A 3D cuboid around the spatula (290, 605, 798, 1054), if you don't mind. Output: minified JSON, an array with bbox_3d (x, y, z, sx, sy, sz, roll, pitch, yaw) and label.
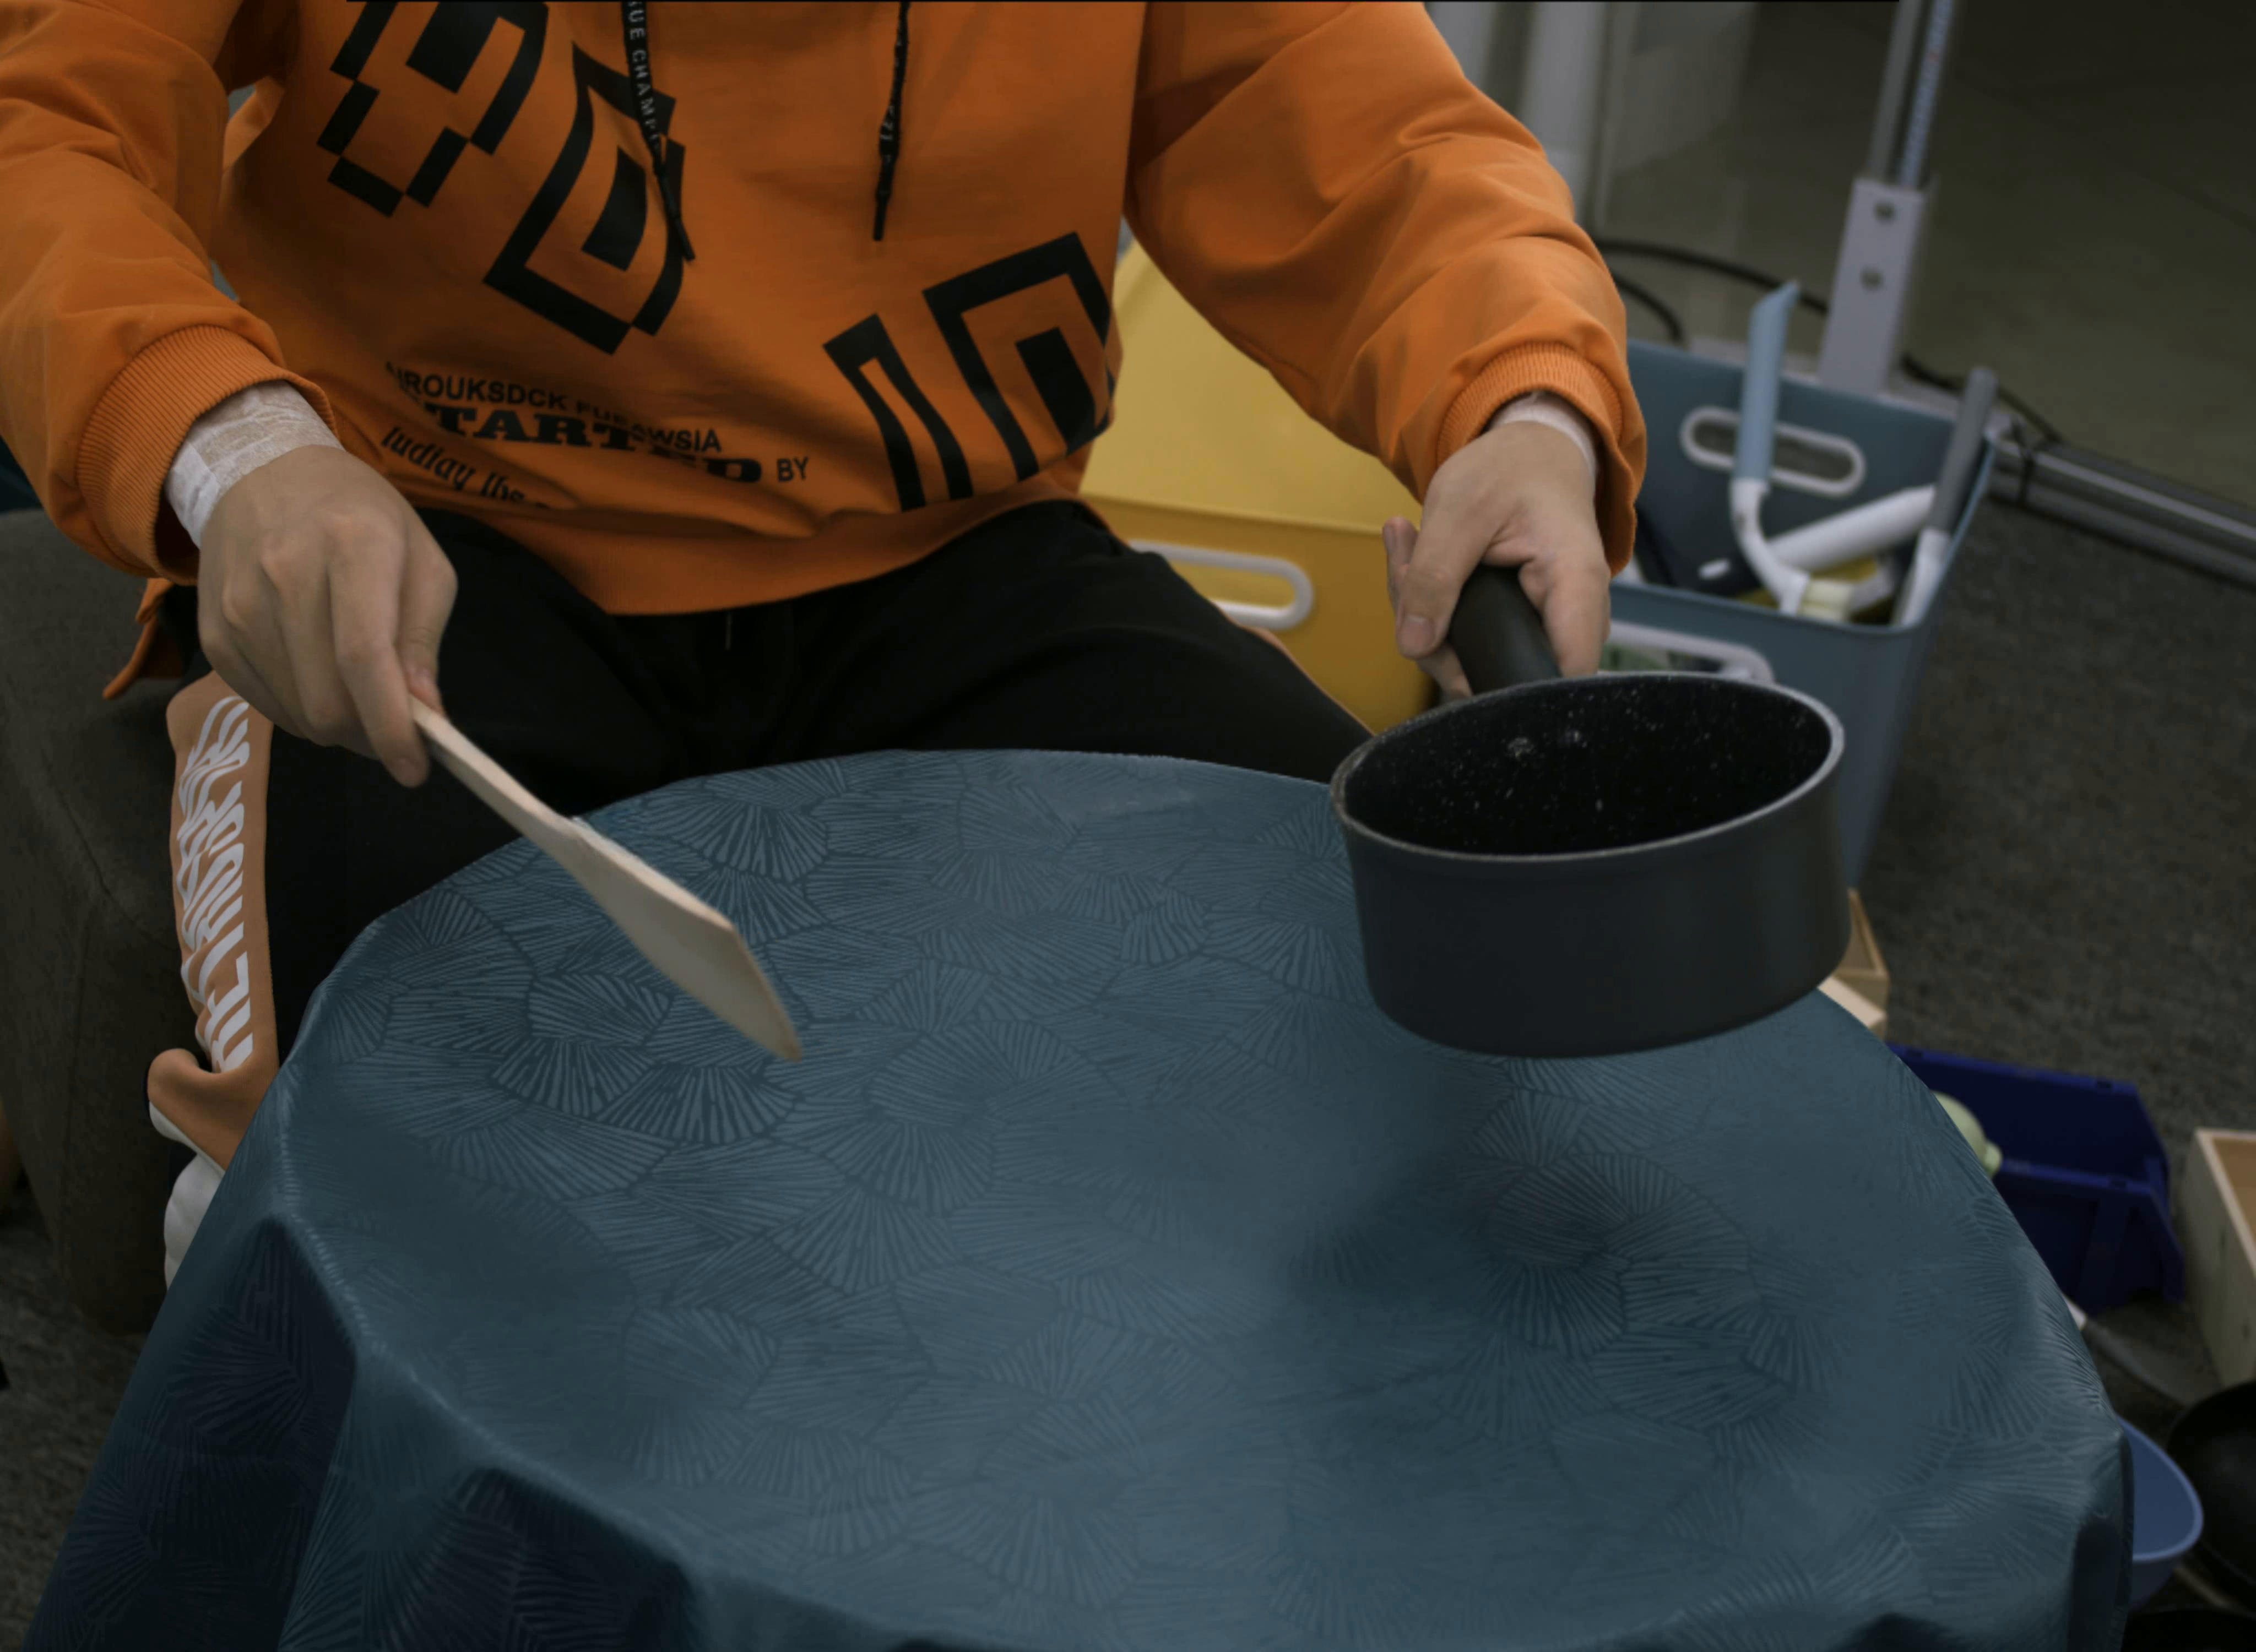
[{"bbox_3d":[-0.203,-0.009,1.759,0.010,0.071,0.295,-41,44,-14],"label":"spatula"}]

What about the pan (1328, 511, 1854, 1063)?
[{"bbox_3d":[0.149,-0.017,1.841,0.171,0.086,0.330,-8,22,-1],"label":"pan"}]
